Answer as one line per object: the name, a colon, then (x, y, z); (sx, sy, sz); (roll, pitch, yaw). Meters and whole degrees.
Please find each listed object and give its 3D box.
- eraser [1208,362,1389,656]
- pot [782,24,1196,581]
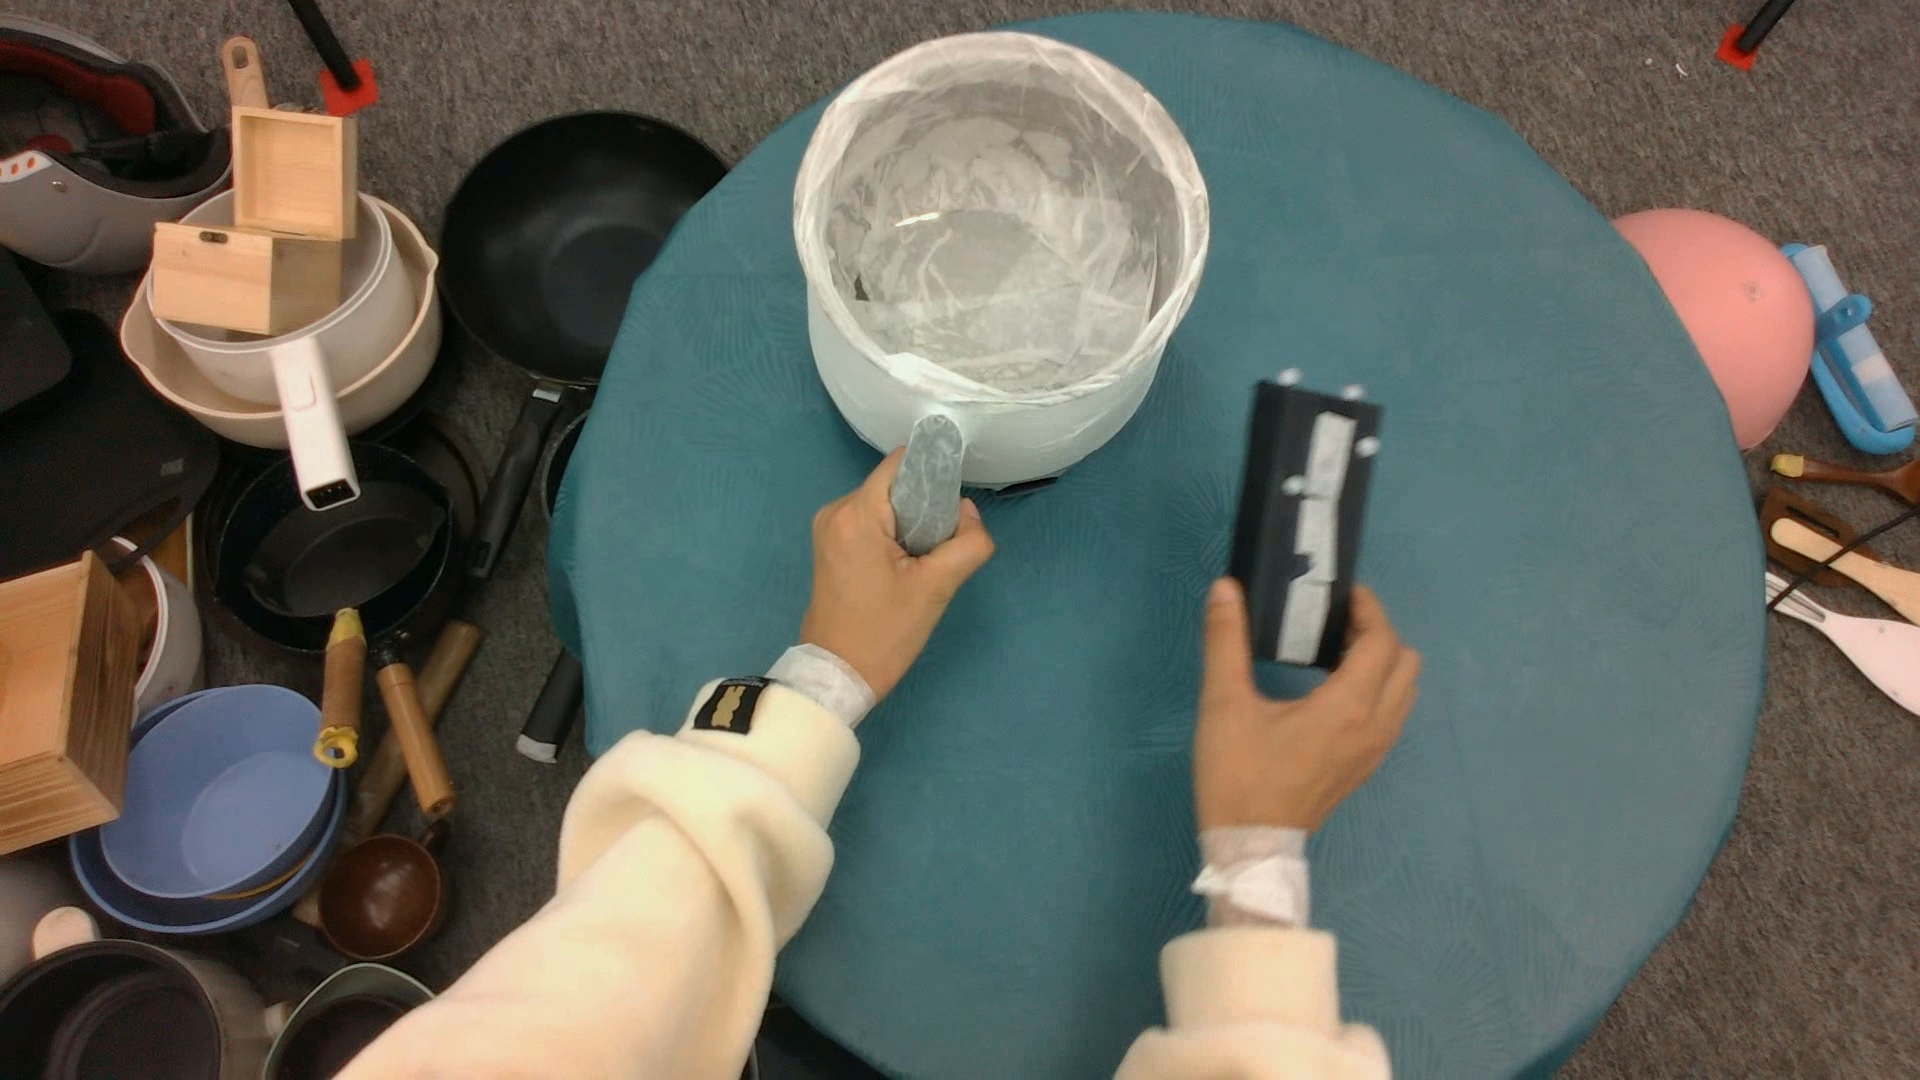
eraser: (0.151, -0.014, 0.616); (0.053, 0.030, 0.125); (13, 90, -19)
pot: (0.003, -0.101, 0.637); (0.179, 0.136, 0.234); (14, 73, 0)
